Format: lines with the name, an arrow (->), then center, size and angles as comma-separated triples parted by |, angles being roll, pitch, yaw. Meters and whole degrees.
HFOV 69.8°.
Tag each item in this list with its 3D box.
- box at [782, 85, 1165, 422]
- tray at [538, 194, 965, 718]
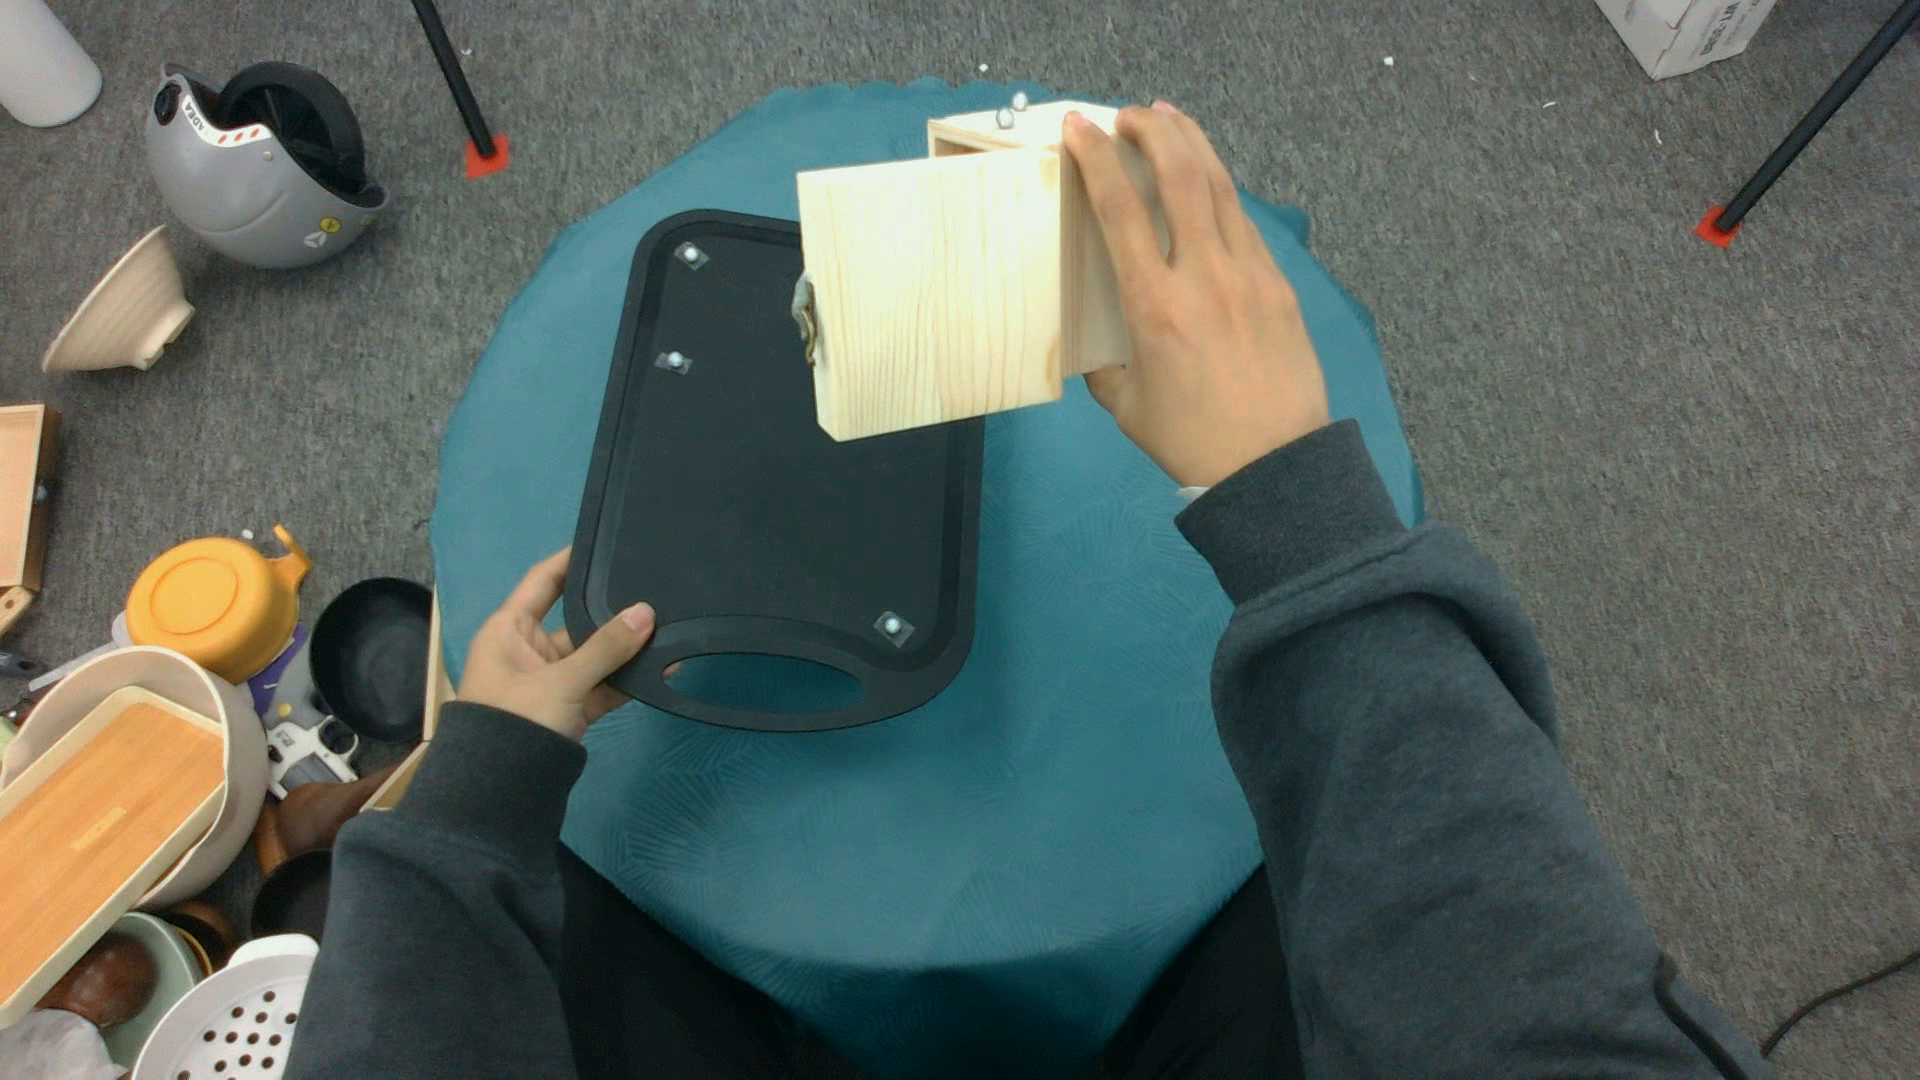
box -> -0.009, -0.134, 0.605 | 0.185, 0.102, 0.134 | -15, 28, -26
tray -> -0.102, -0.057, 0.747 | 0.211, 0.010, 0.327 | 7, 60, -7
